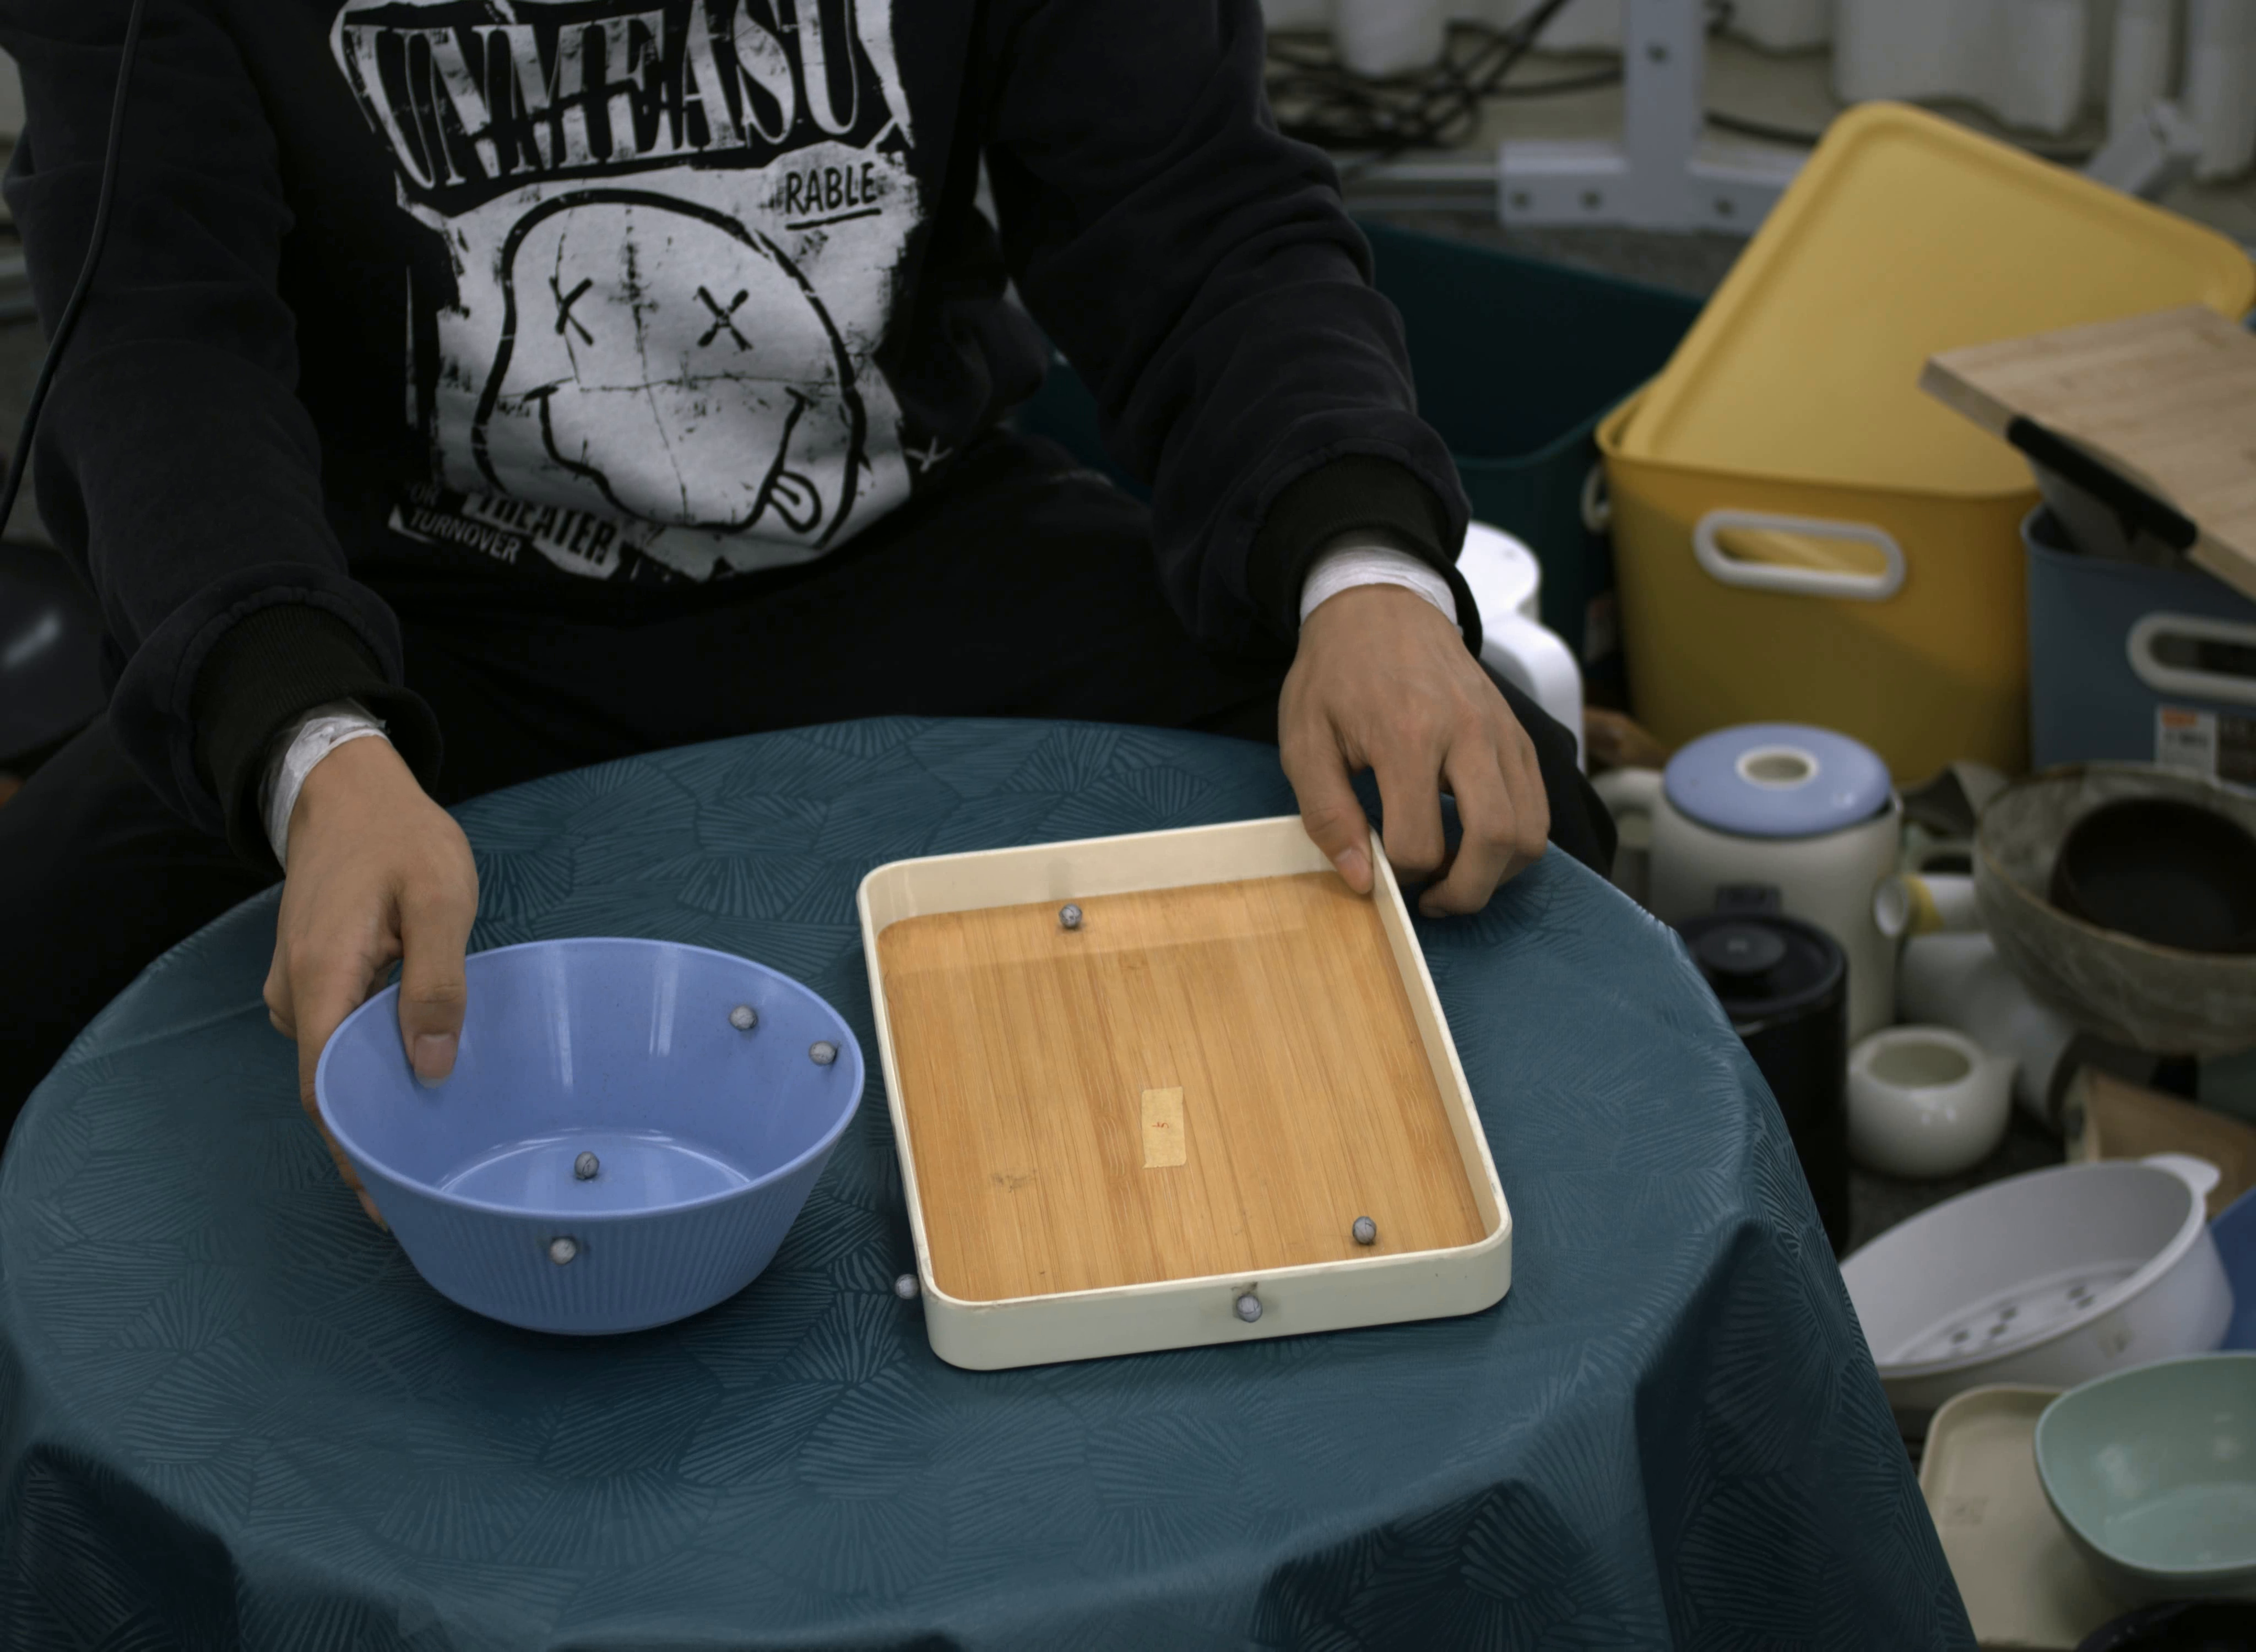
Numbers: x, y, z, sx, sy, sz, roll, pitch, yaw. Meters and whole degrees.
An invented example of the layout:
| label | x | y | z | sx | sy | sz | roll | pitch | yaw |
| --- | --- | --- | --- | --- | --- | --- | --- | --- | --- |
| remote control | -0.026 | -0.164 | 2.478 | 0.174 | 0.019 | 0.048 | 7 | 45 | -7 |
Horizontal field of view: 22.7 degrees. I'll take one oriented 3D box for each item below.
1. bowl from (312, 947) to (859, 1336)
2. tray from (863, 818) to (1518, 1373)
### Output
| label | x | y | z | sx | sy | sz | roll | pitch | yaw |
| --- | --- | --- | --- | --- | --- | --- | --- | --- | --- |
| bowl | -0.175 | 0.108 | 1.817 | 0.175 | 0.069 | 0.179 | 2 | 27 | -1 |
| tray | 0.015 | 0.086 | 1.900 | 0.191 | 0.027 | 0.304 | -6 | 28 | -4 |
